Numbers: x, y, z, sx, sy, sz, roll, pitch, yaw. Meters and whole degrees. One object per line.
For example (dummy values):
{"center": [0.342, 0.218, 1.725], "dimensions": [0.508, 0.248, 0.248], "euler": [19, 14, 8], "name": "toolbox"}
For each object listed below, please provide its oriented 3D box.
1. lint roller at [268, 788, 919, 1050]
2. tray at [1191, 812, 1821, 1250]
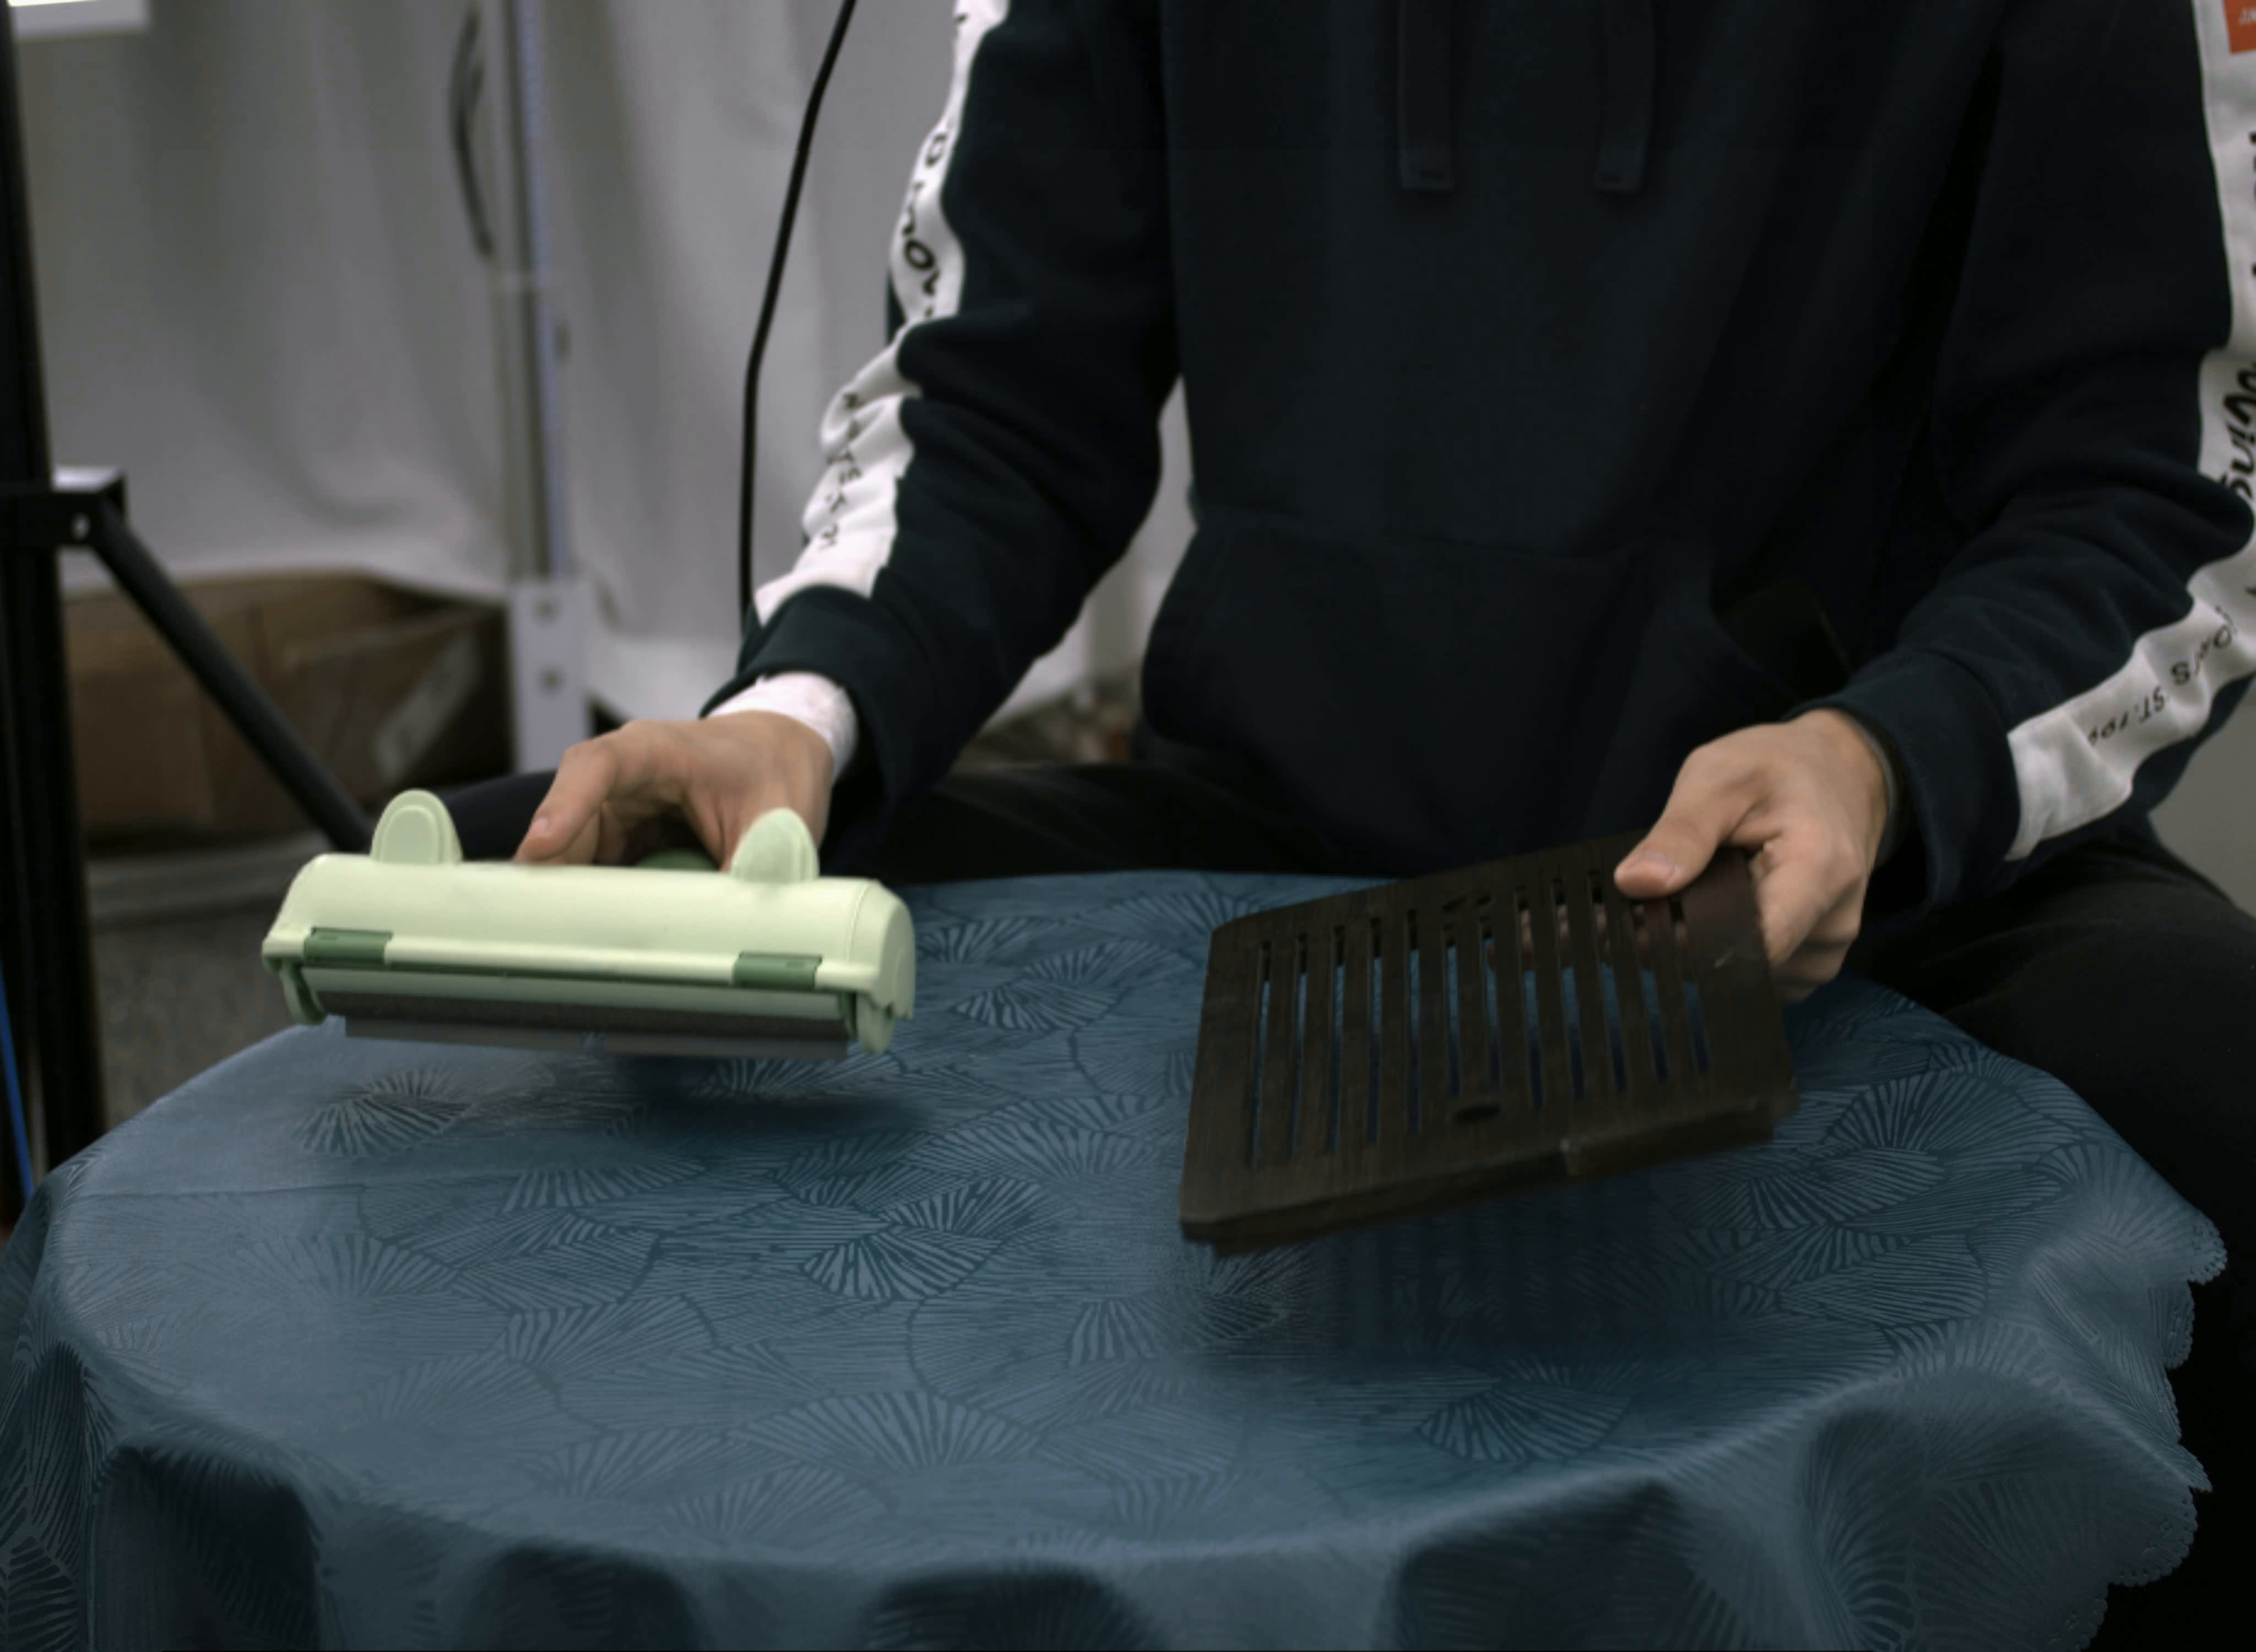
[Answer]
{"center": [-0.154, 0.014, 1.699], "dimensions": [0.200, 0.082, 0.182], "euler": [2, 19, 13], "name": "lint roller"}
{"center": [0.106, 0.056, 1.534], "dimensions": [0.170, 0.018, 0.306], "euler": [-13, 13, 6], "name": "tray"}
